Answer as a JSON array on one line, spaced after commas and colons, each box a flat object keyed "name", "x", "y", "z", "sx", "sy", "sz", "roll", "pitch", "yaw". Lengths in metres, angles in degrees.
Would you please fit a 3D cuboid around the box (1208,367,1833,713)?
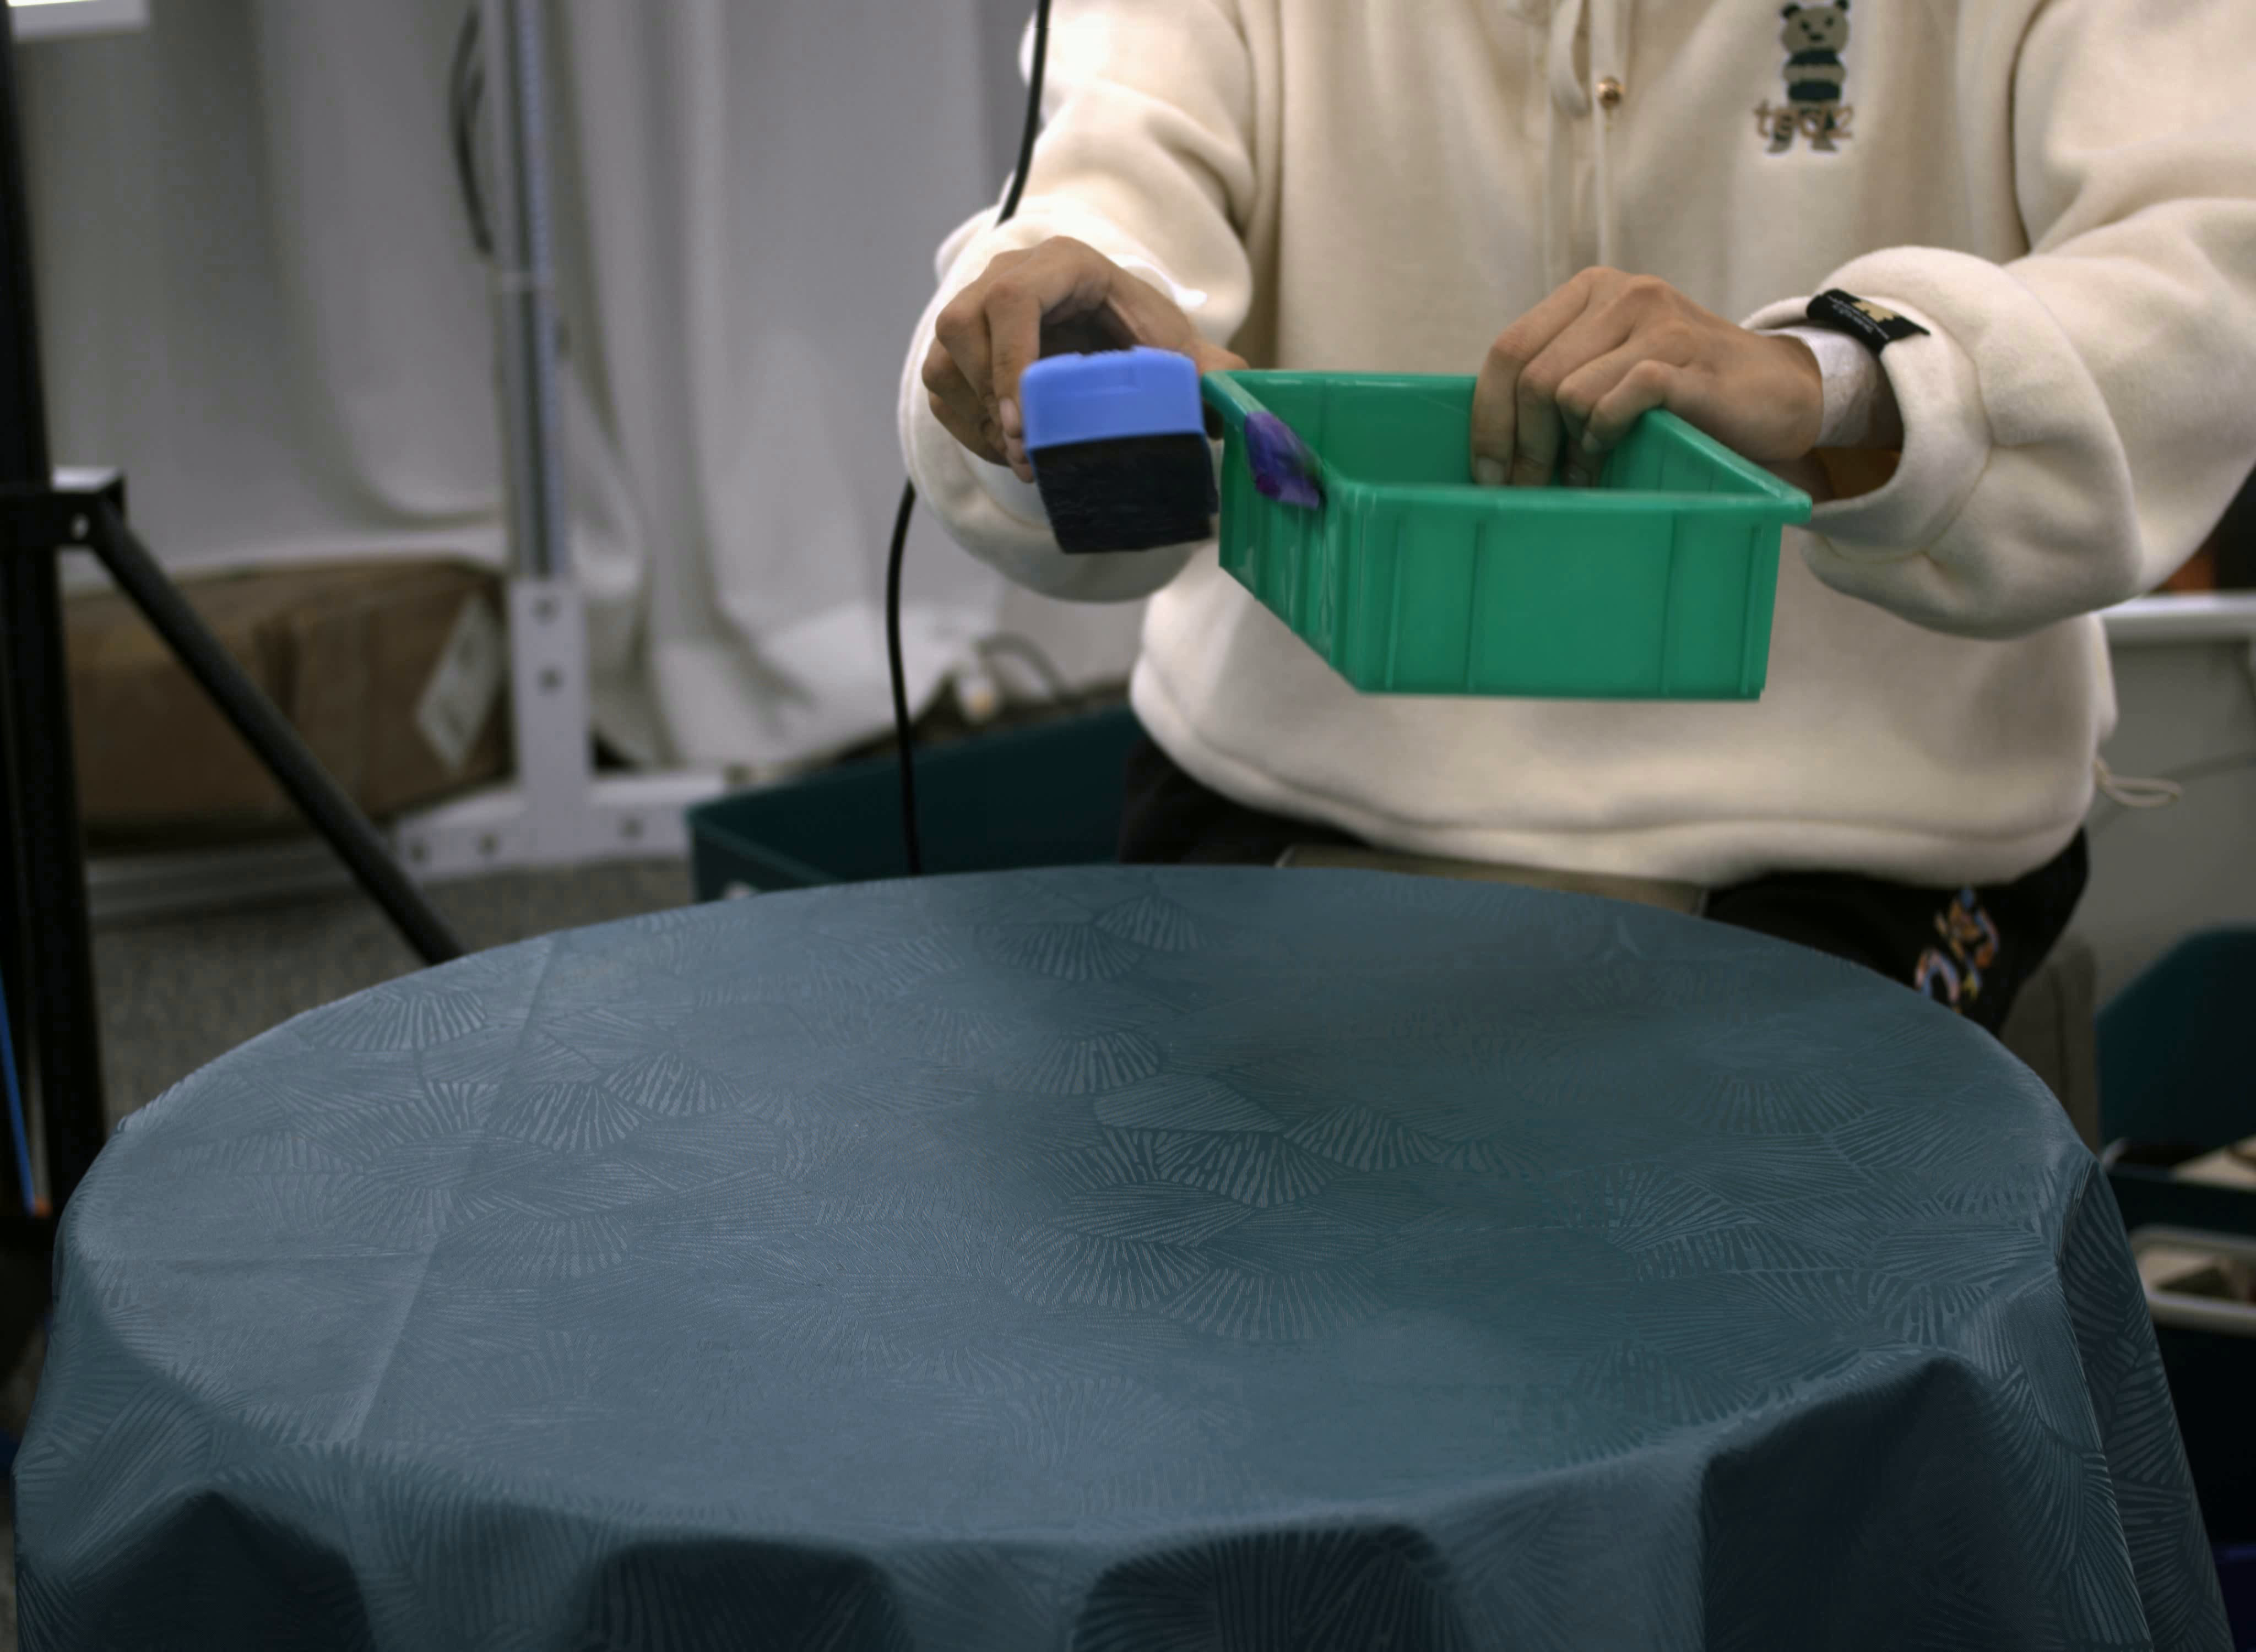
[{"name": "box", "x": 0.109, "y": -0.085, "z": 1.560, "sx": 0.136, "sy": 0.065, "sz": 0.213, "roll": -2, "pitch": 16, "yaw": -13}]

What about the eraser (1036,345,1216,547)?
[{"name": "eraser", "x": -0.002, "y": -0.119, "z": 1.637, "sx": 0.053, "sy": 0.048, "sz": 0.162, "roll": -5, "pitch": -6, "yaw": -1}]
